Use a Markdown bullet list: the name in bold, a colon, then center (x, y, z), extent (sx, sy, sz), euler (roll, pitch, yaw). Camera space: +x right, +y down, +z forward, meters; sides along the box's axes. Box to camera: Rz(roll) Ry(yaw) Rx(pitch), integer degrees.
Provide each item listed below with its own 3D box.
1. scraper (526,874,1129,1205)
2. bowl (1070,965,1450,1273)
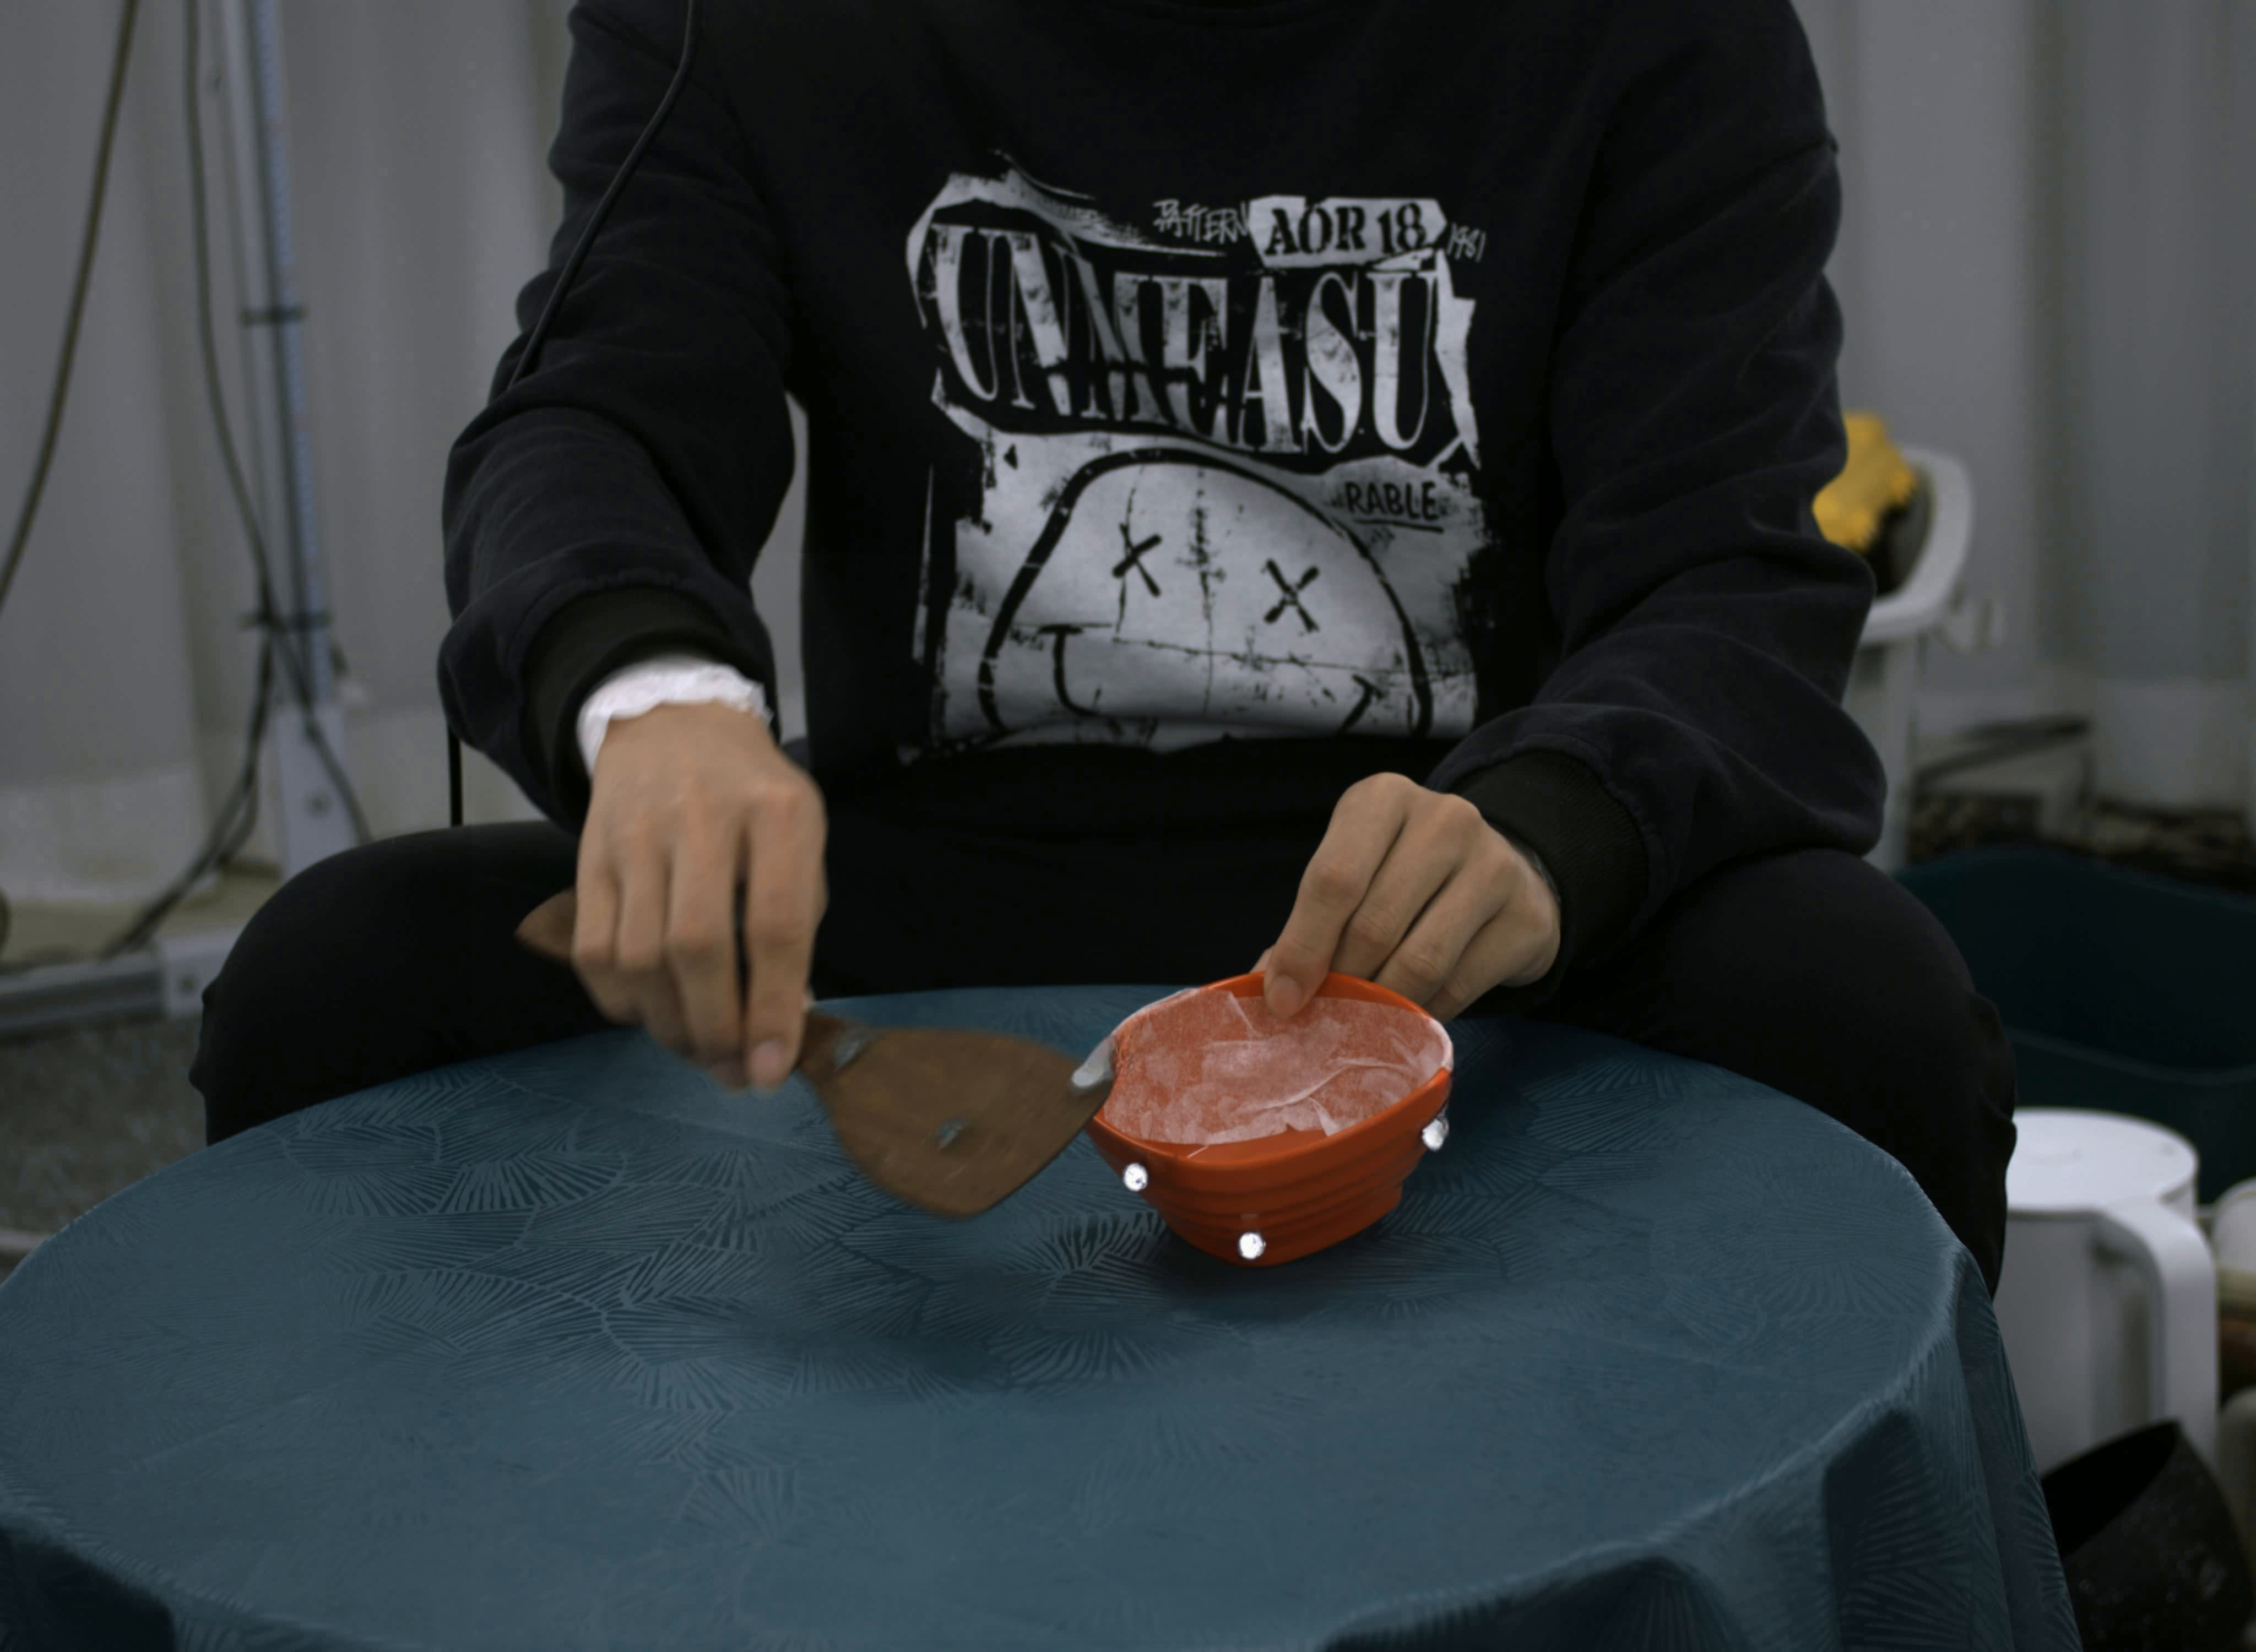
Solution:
- **scraper**: center (-0.097, 0.057, 1.635), extent (0.213, 0.010, 0.076), euler (23, 49, 32)
- **bowl**: center (0.042, 0.094, 1.666), extent (0.118, 0.051, 0.120), euler (-8, 28, 4)
